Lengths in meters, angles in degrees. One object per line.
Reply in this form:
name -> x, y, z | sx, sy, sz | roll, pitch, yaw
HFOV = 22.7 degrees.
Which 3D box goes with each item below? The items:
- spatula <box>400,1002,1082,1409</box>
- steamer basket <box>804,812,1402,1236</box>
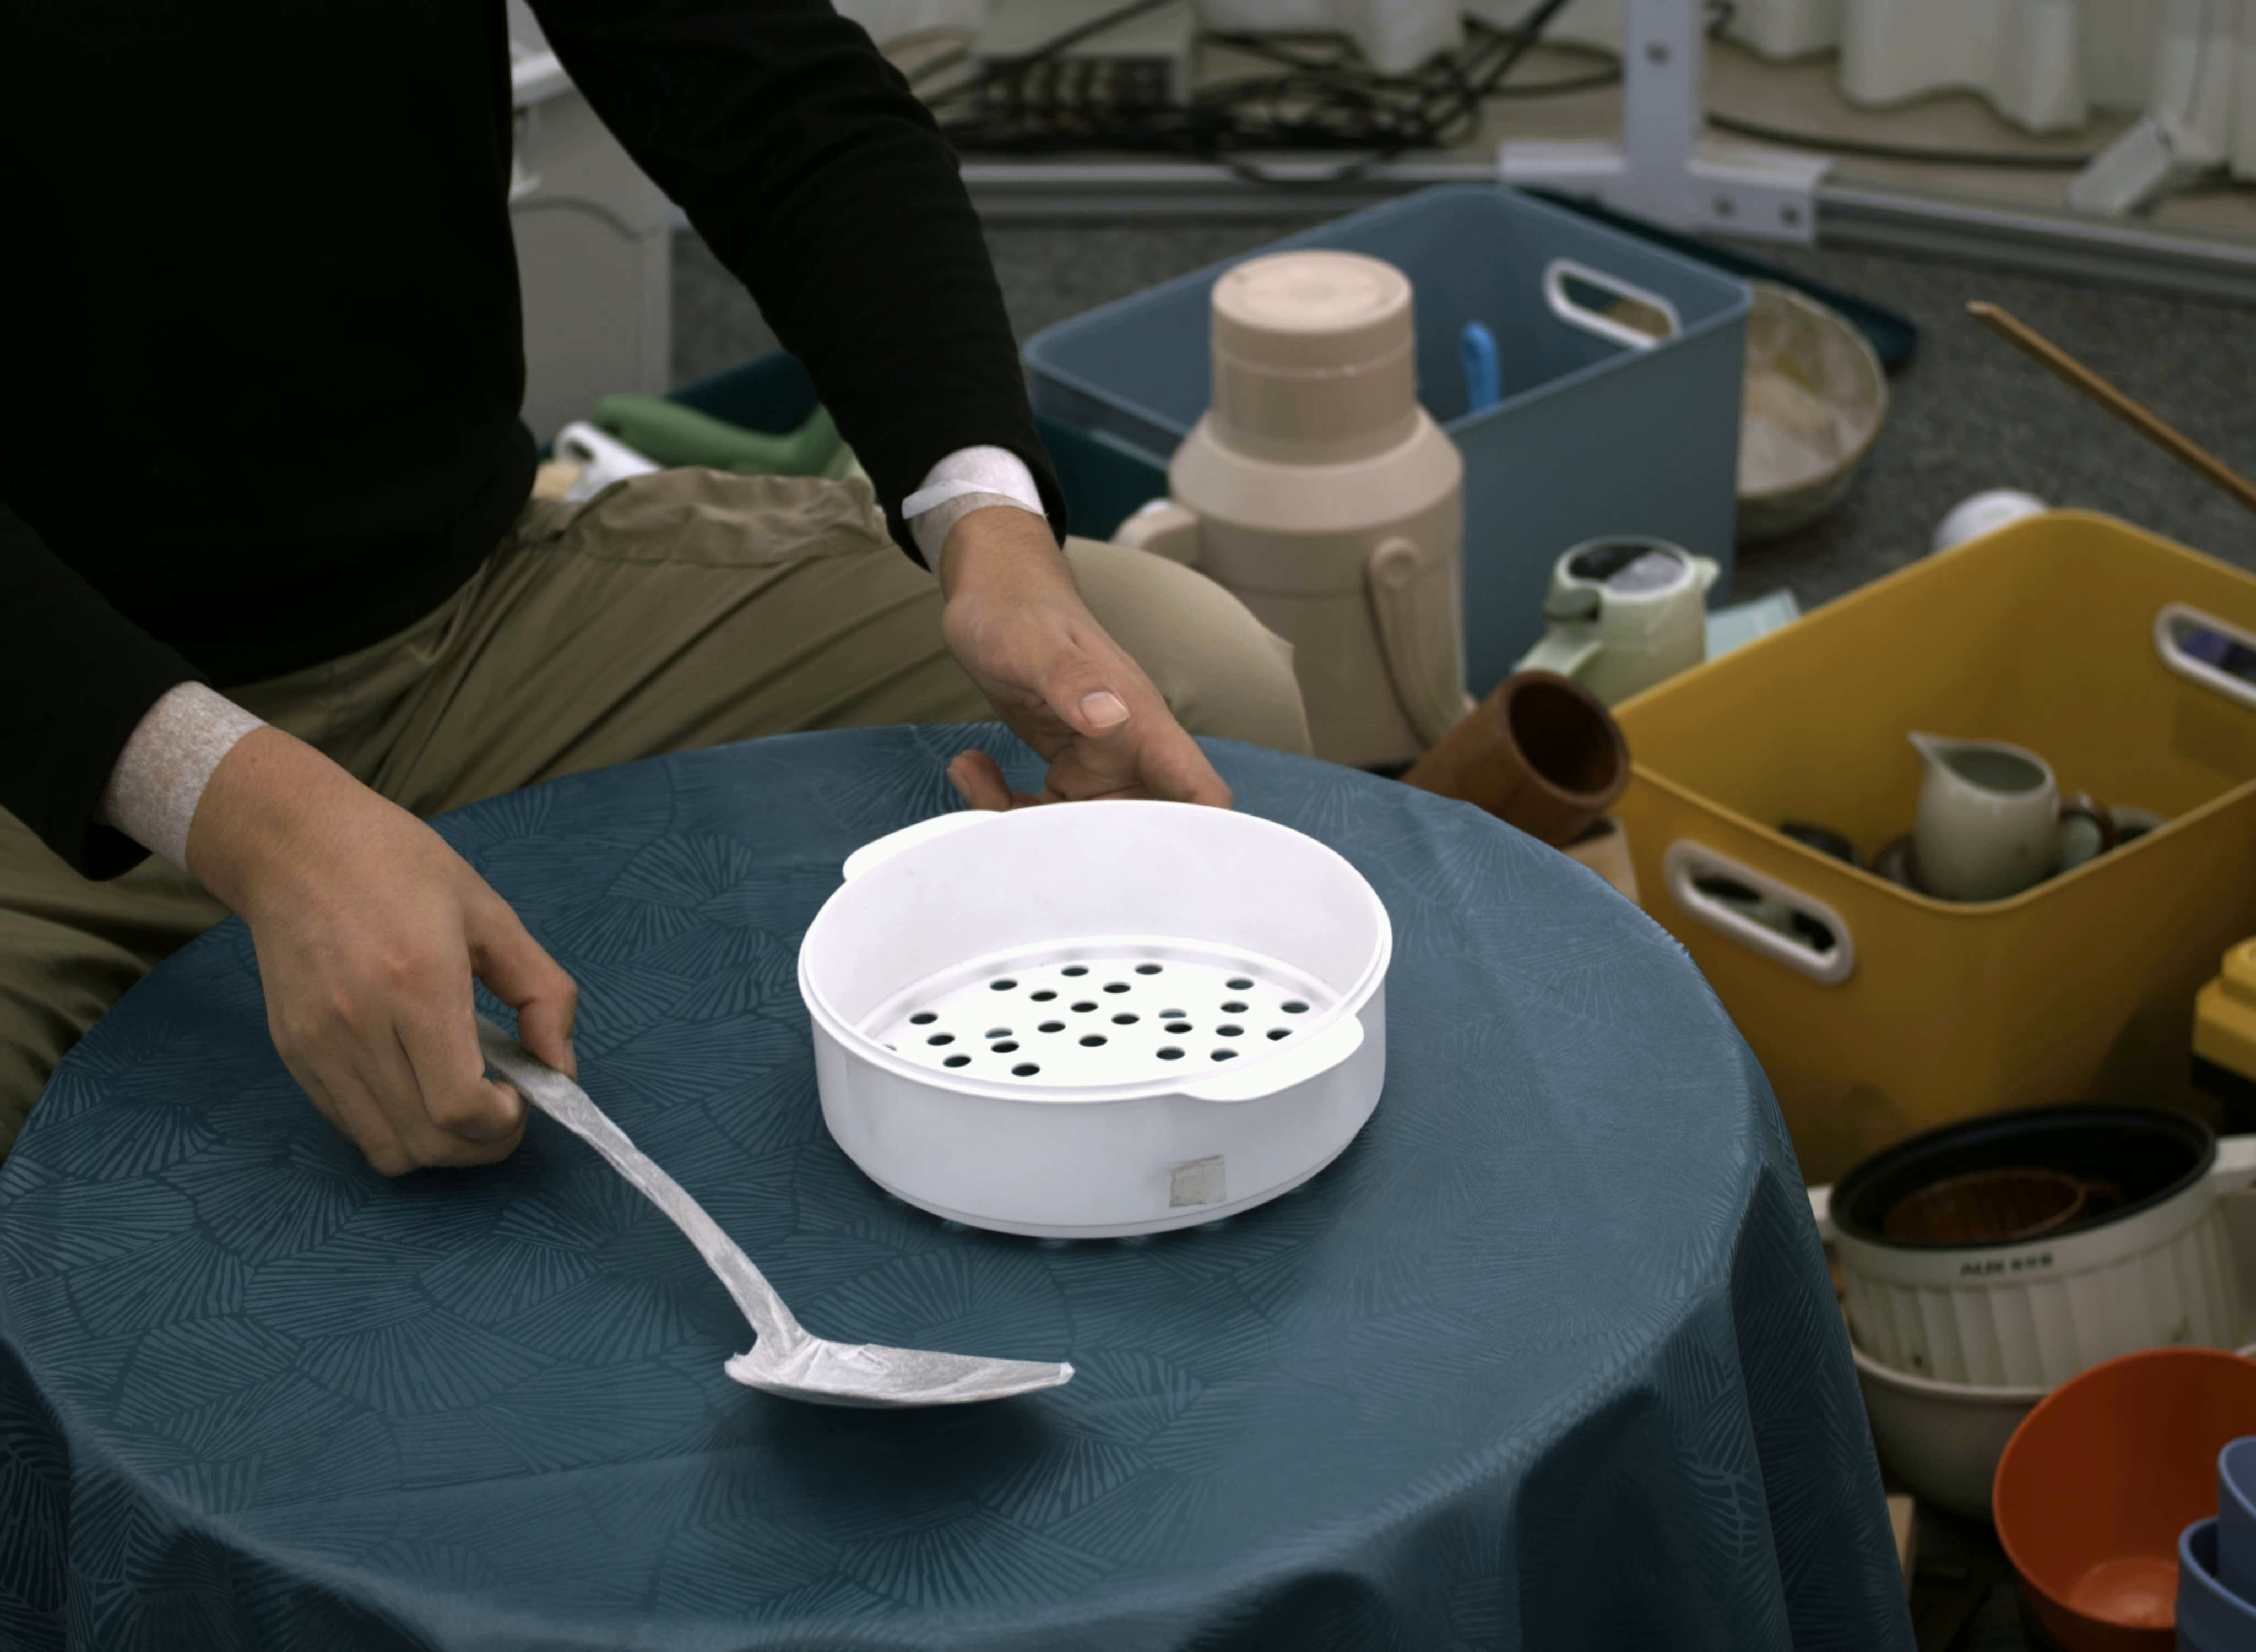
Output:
spatula -> -0.149, 0.117, 1.826 | 0.099, 0.044, 0.366 | -4, 26, -37
steamer basket -> -0.007, 0.067, 1.893 | 0.203, 0.068, 0.231 | -20, 30, -32
